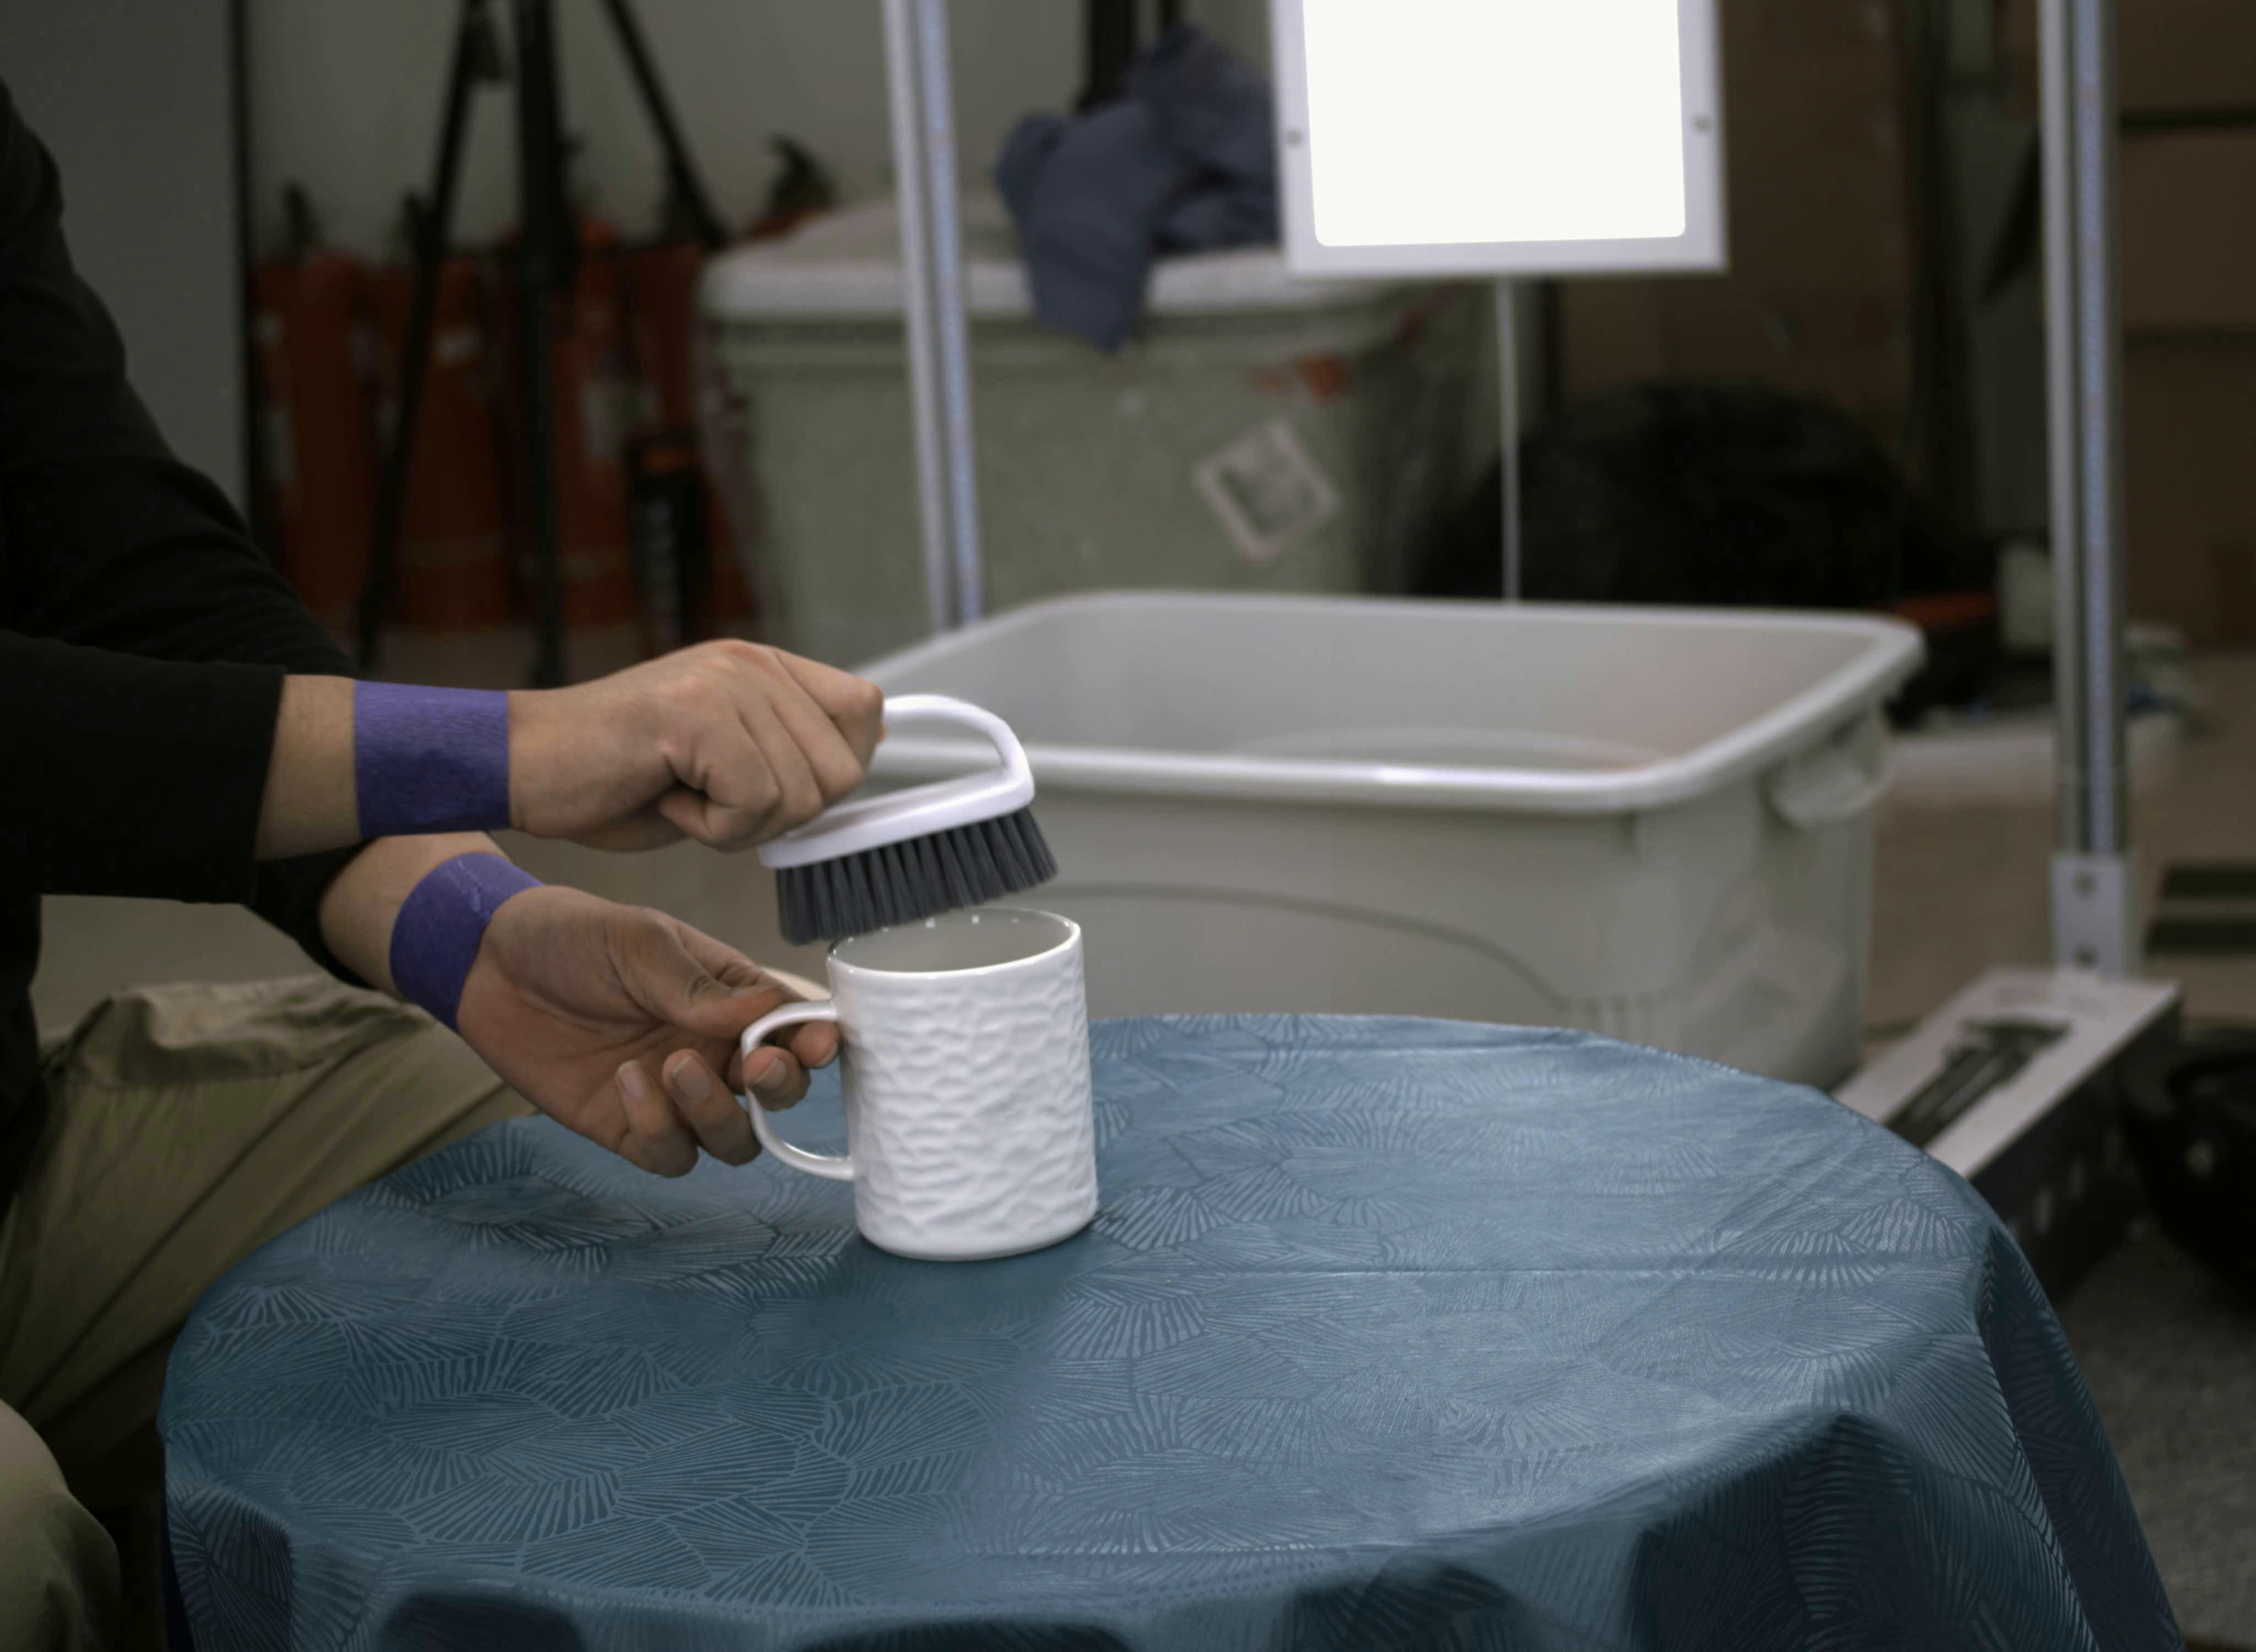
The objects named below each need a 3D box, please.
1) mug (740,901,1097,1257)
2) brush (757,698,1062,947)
[{"bbox_3d":[-0.071,0.087,1.862,0.117,0.102,0.085,-6,14,-6],"label":"mug"},{"bbox_3d":[-0.078,-0.005,1.863,0.098,0.072,0.050,-13,8,-3],"label":"brush"}]
